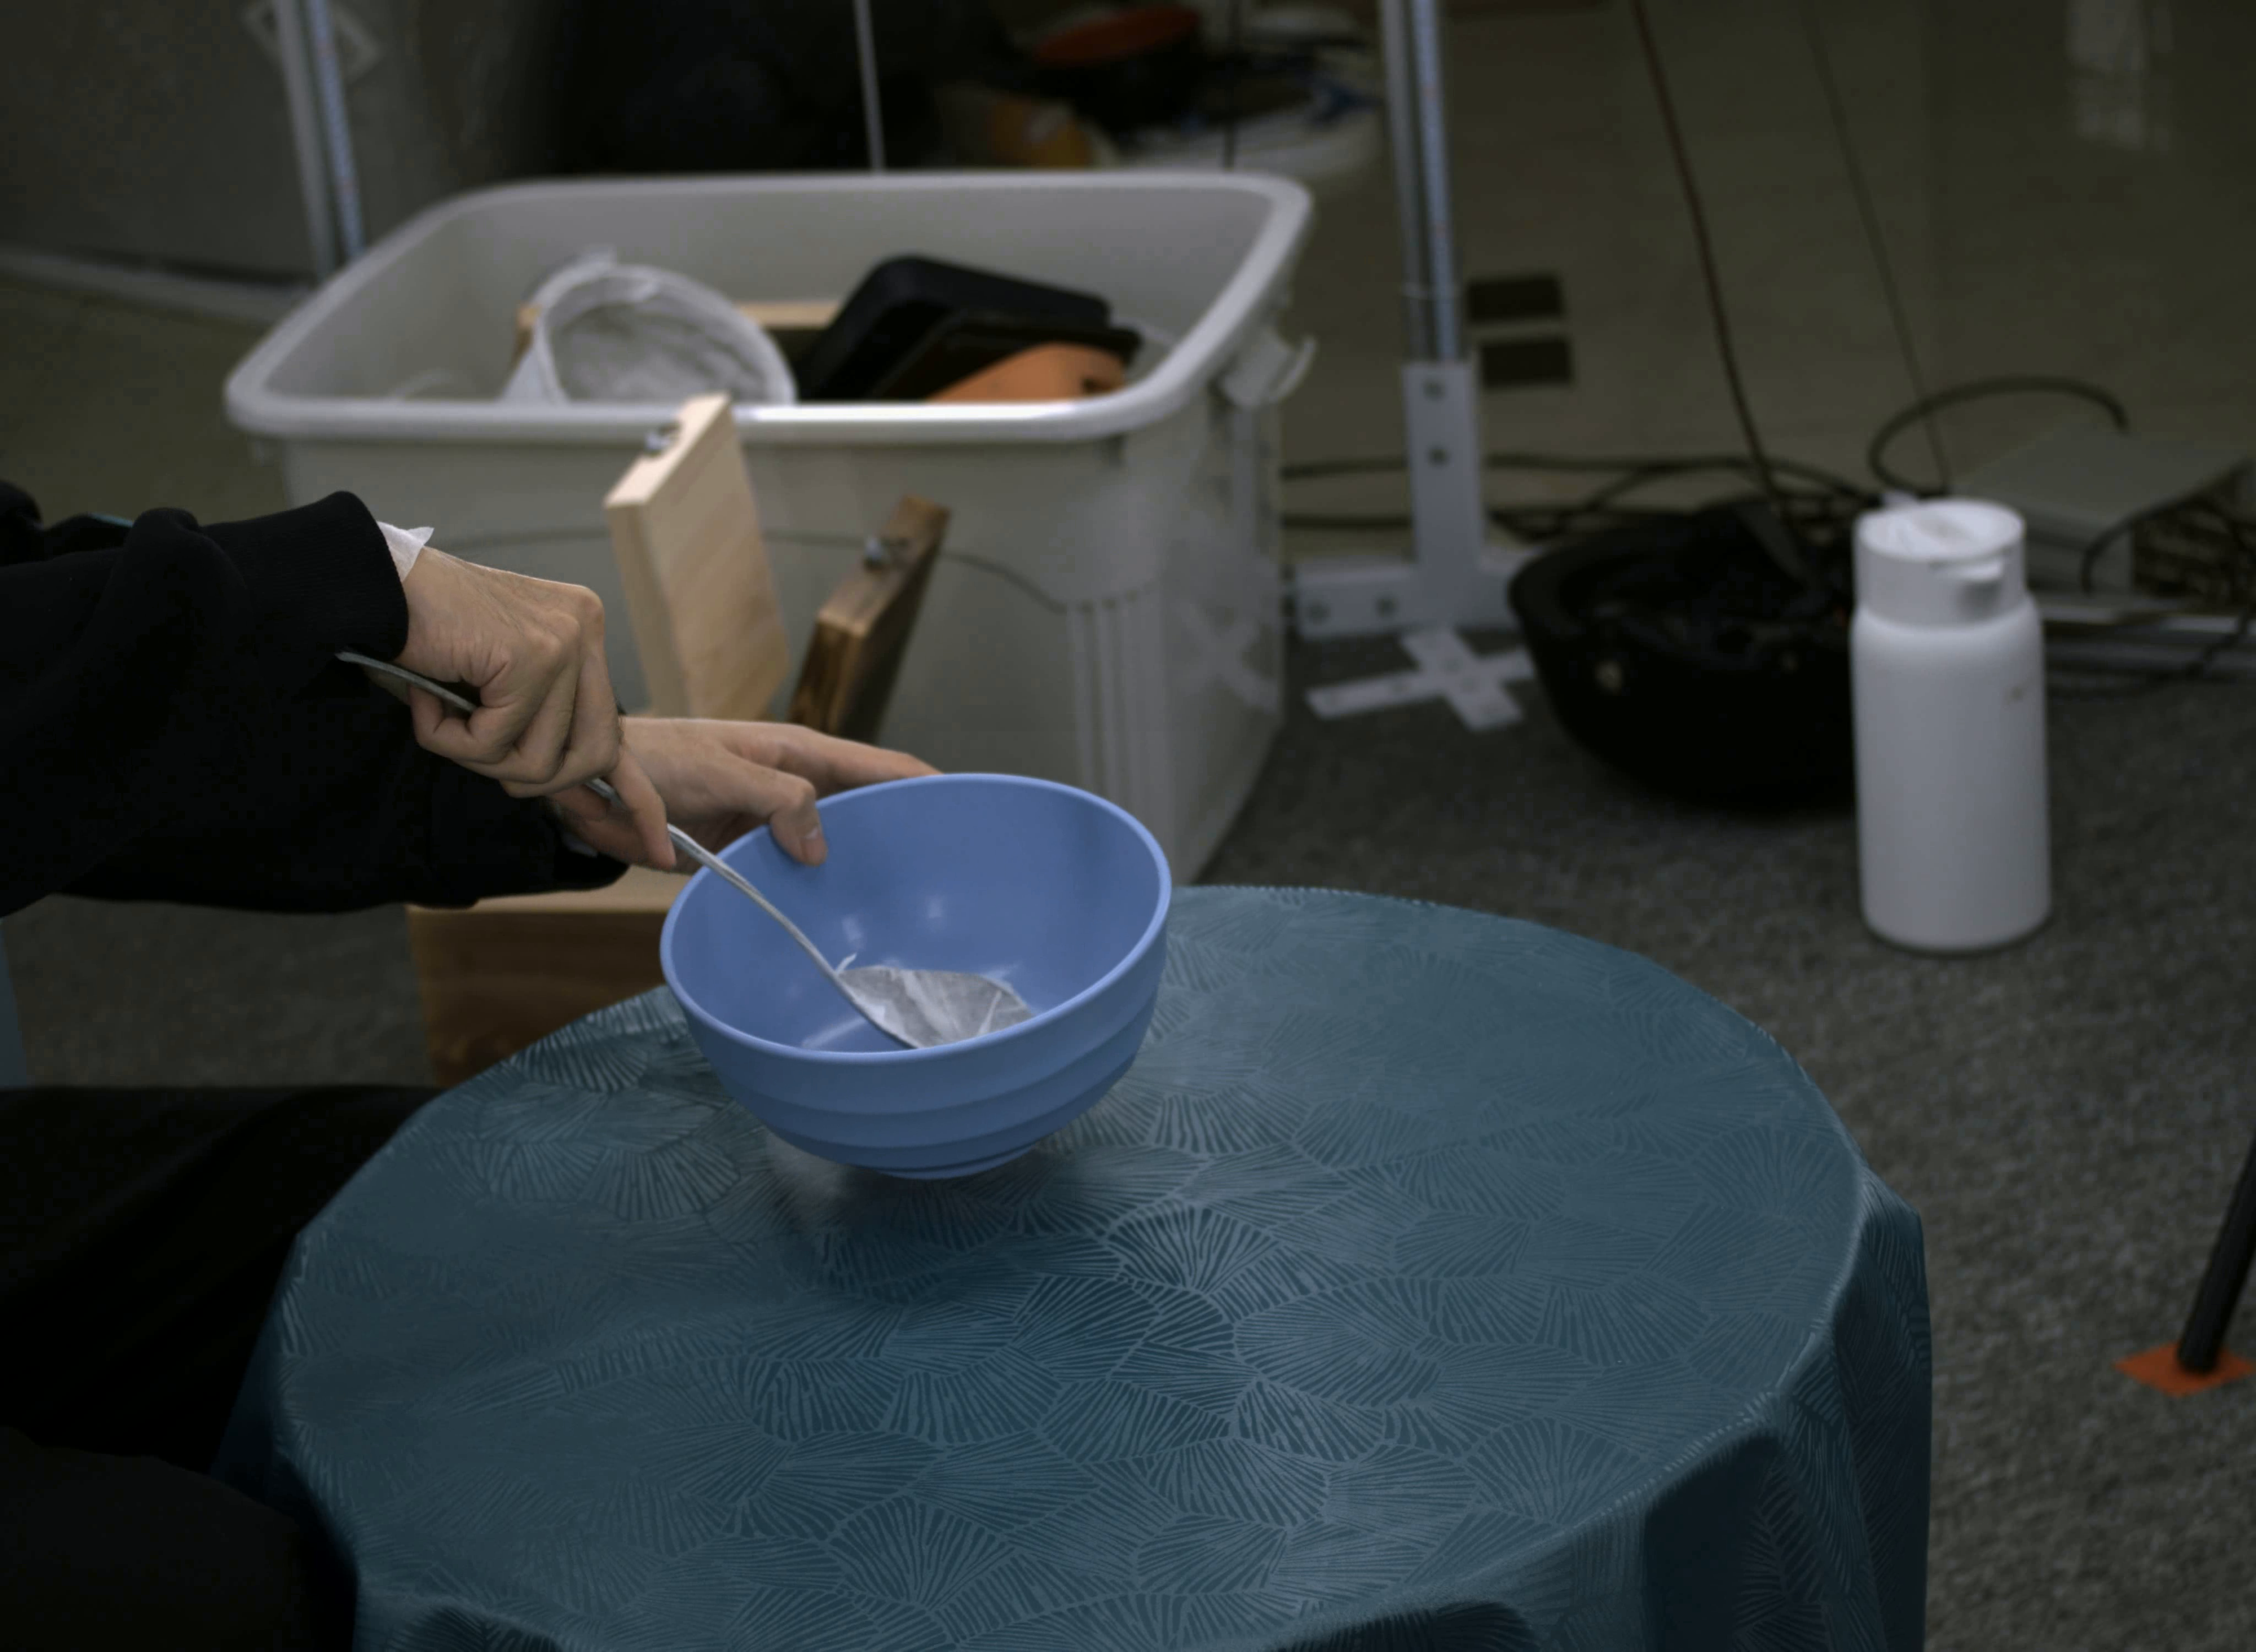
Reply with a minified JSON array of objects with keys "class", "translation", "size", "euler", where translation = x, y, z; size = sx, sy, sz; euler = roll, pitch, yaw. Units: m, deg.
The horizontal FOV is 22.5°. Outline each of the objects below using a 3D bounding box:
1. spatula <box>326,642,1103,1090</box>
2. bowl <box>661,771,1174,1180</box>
[{"class":"spatula","translation":[-0.149,0.012,2.086],"size":[0.045,0.369,0.097],"euler":[-50,38,3]},{"class":"bowl","translation":[-0.075,0.071,2.170],"size":[0.196,0.097,0.193],"euler":[-5,33,3]}]
